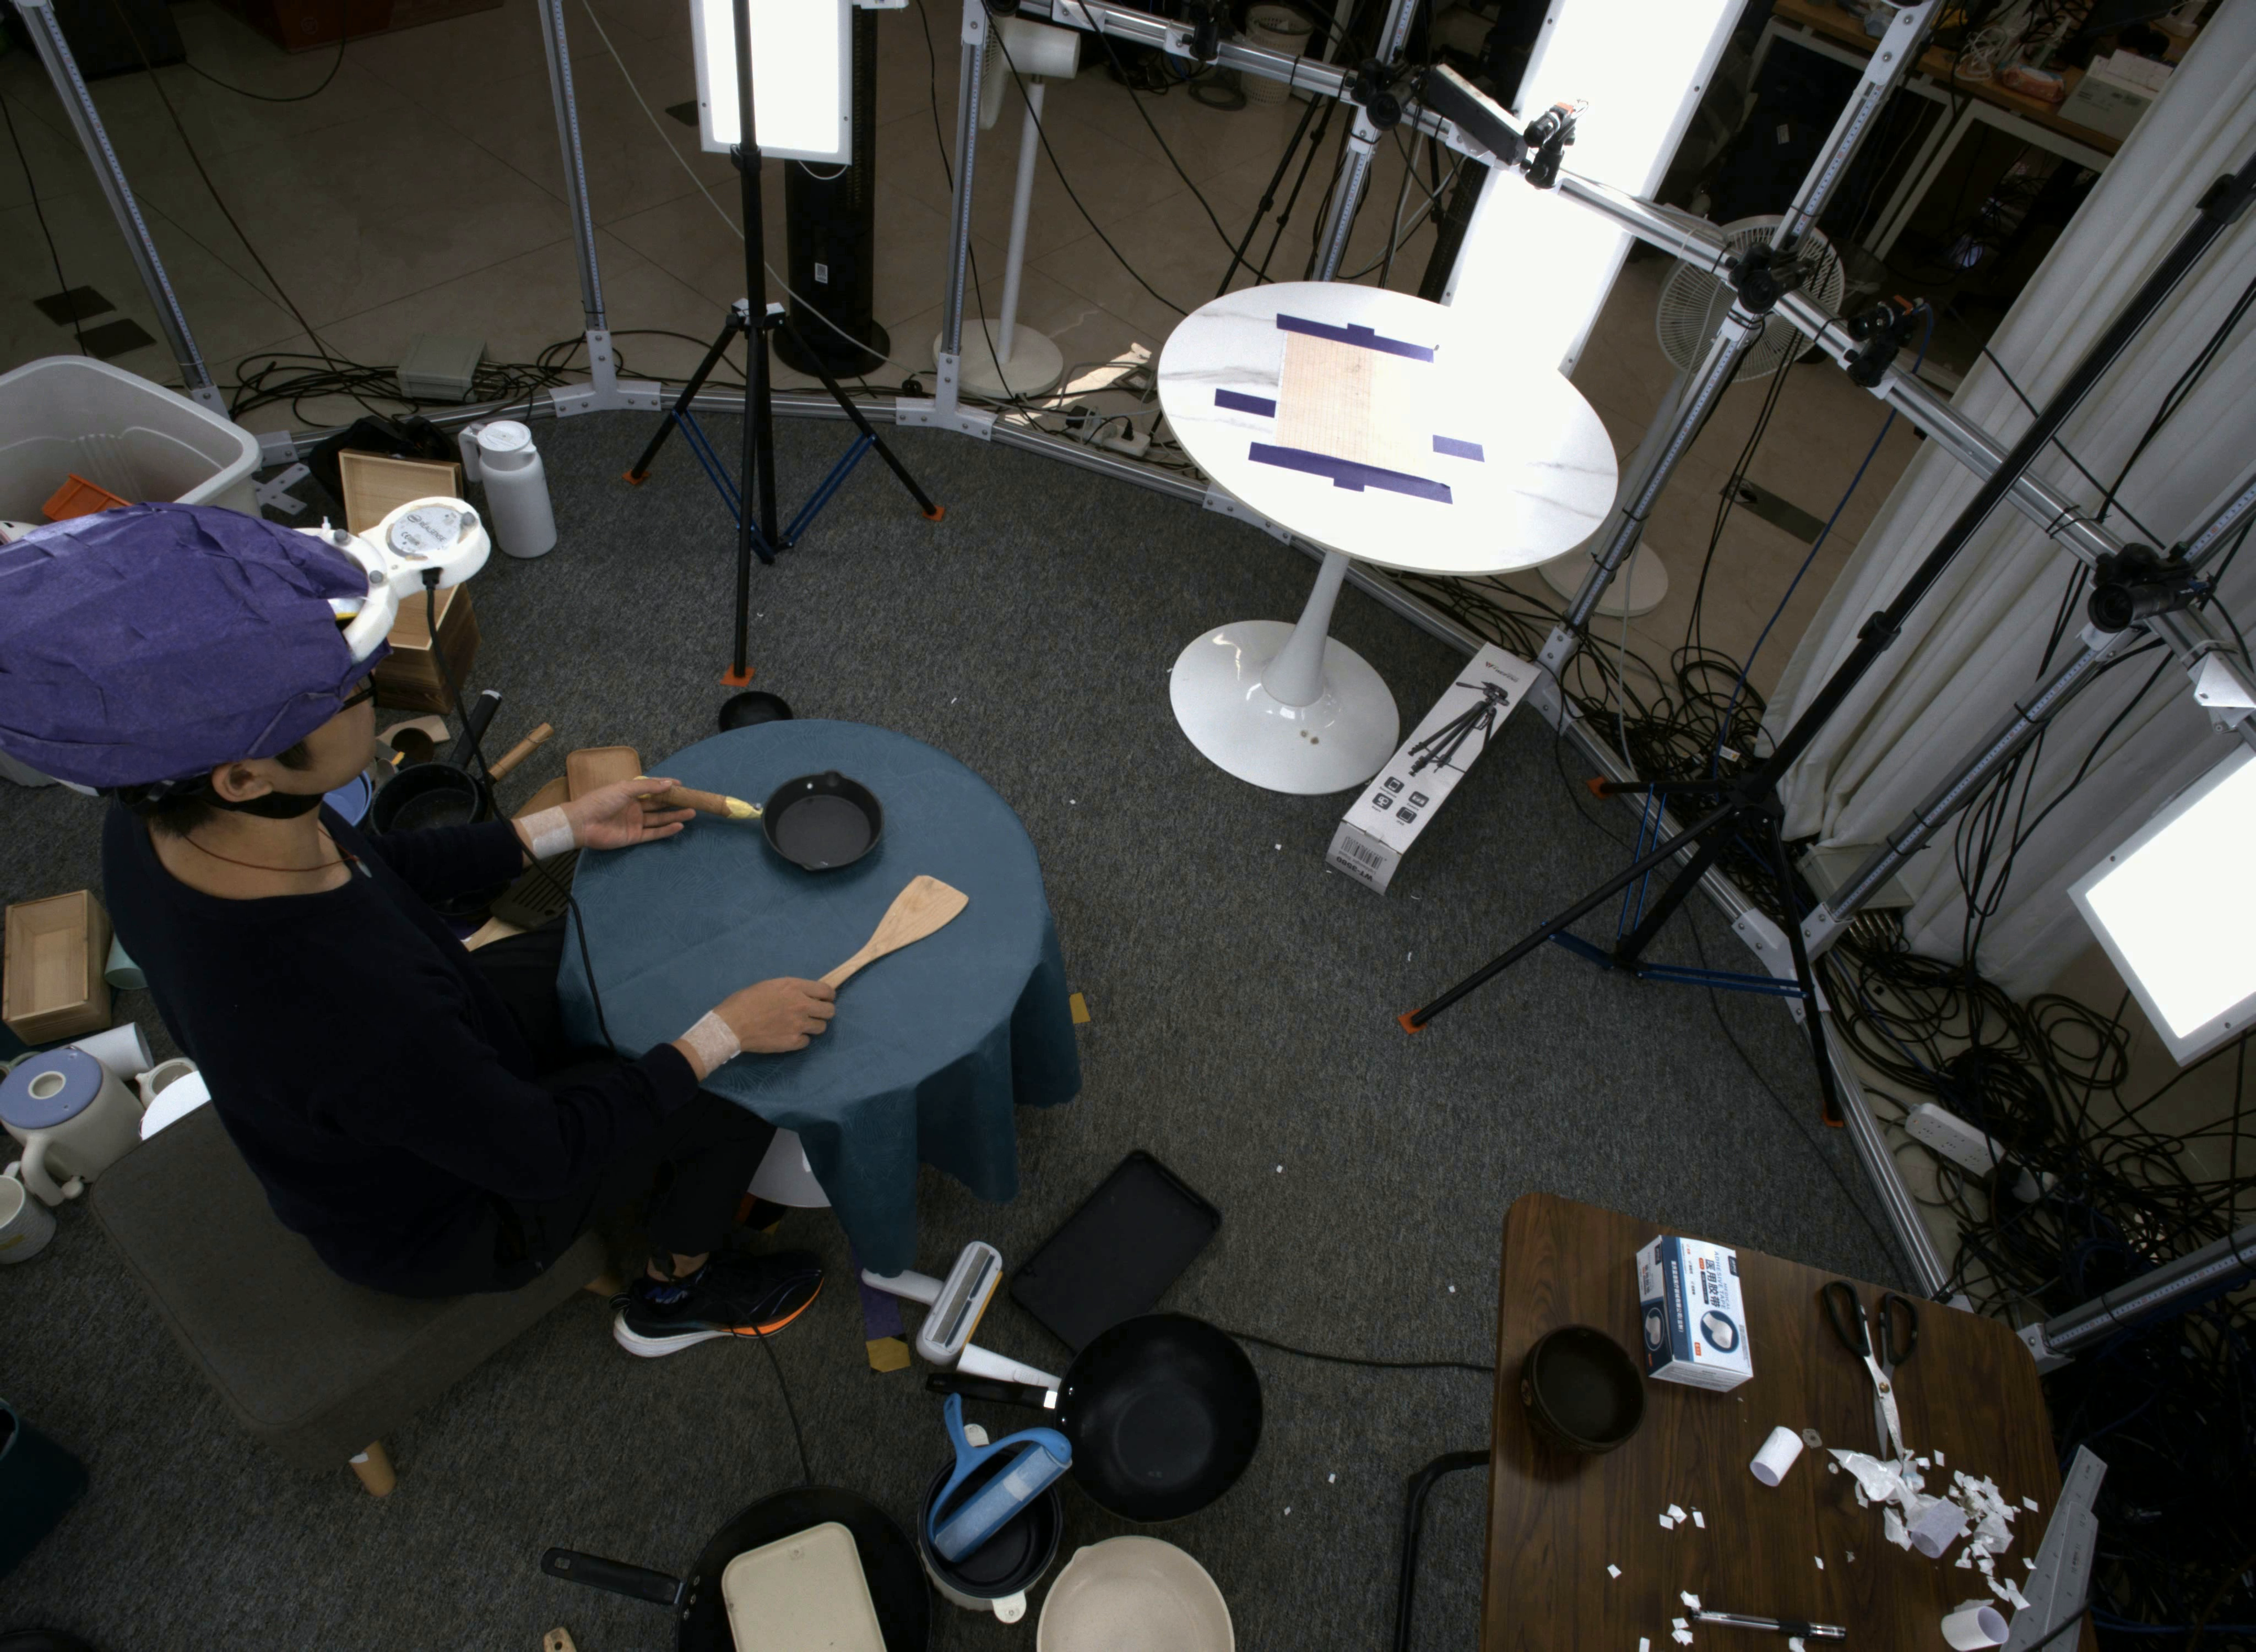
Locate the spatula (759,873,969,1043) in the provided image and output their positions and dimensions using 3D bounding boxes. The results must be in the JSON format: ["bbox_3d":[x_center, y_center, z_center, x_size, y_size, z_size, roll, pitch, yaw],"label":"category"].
[{"bbox_3d":[-0.330,0.159,1.604,0.078,0.017,0.328,35,49,16],"label":"spatula"}]

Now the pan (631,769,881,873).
[{"bbox_3d":[-0.483,-0.020,1.680,0.324,0.050,0.166,10,52,-9],"label":"pan"}]
